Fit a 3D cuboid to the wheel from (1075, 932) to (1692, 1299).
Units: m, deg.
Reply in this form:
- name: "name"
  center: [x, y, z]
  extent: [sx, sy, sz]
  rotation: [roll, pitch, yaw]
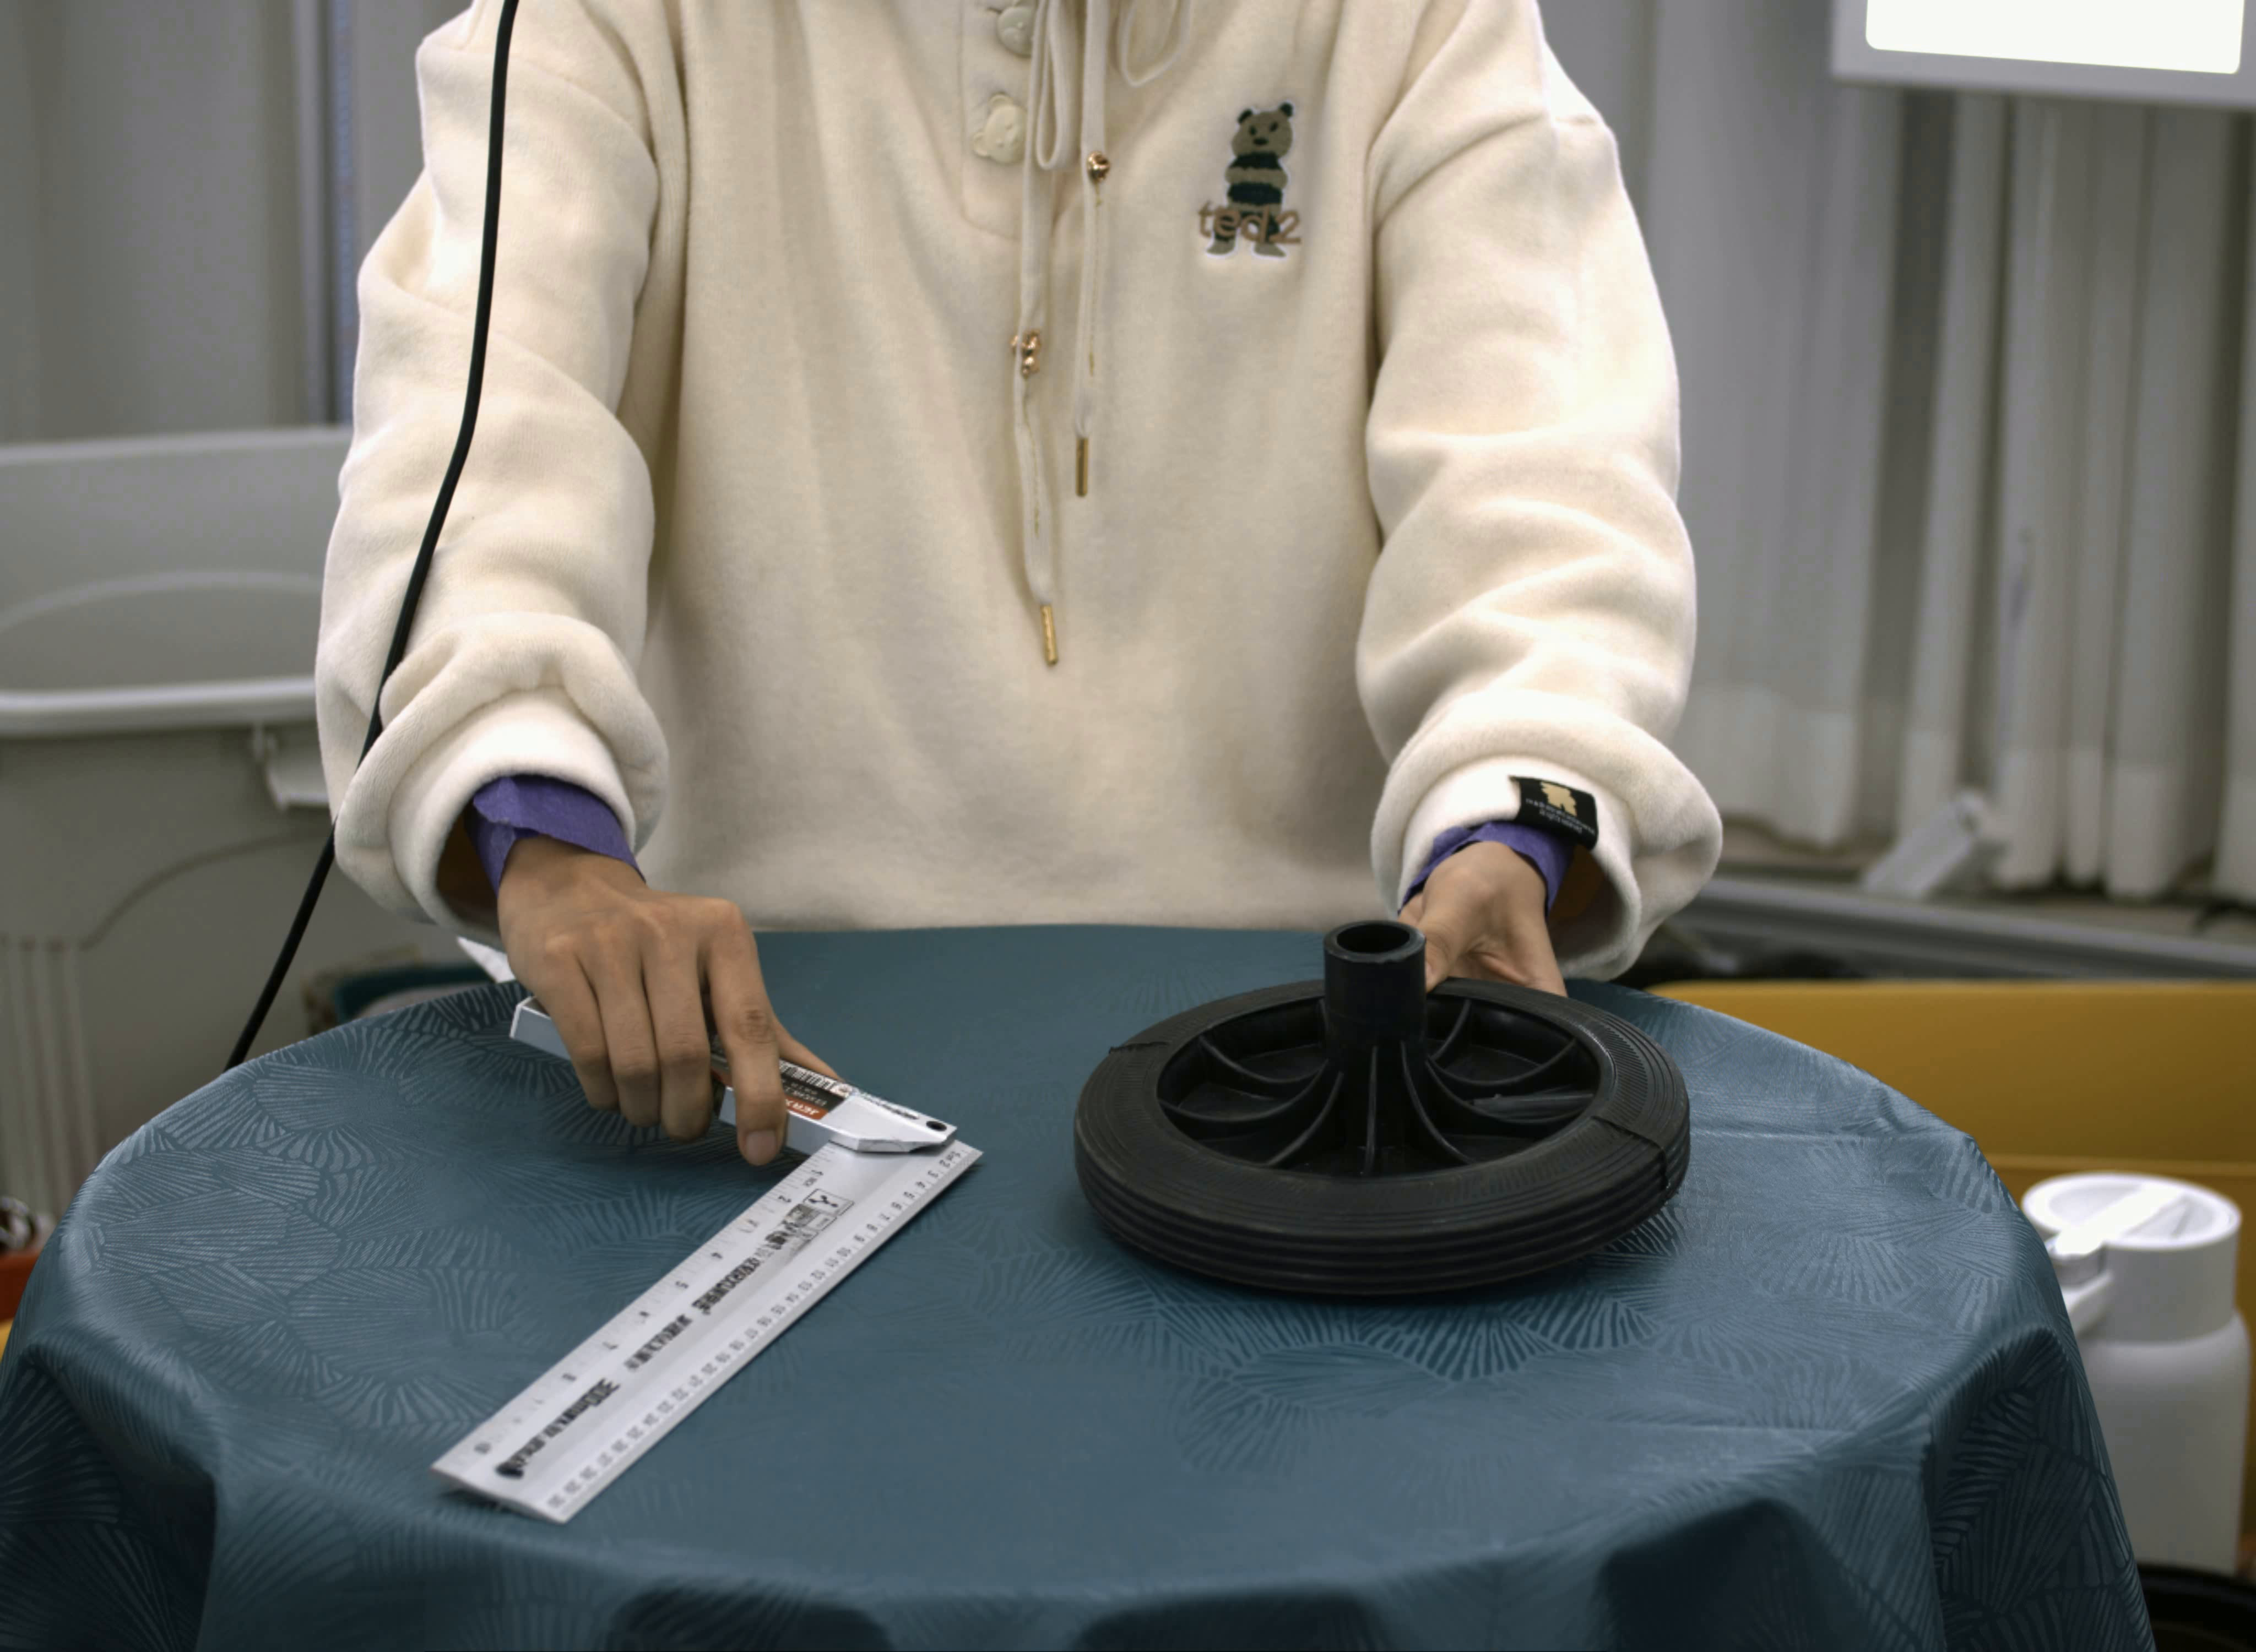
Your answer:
- name: "wheel"
  center: [0.077, 0.074, 1.597]
  extent: [0.190, 0.080, 0.185]
  rotation: [-12, 24, -23]

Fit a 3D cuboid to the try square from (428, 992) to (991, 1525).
- name: "try square"
  center: [-0.163, 0.119, 1.524]
  extent: [0.151, 0.016, 0.313]
  rotation: [18, 20, 15]
